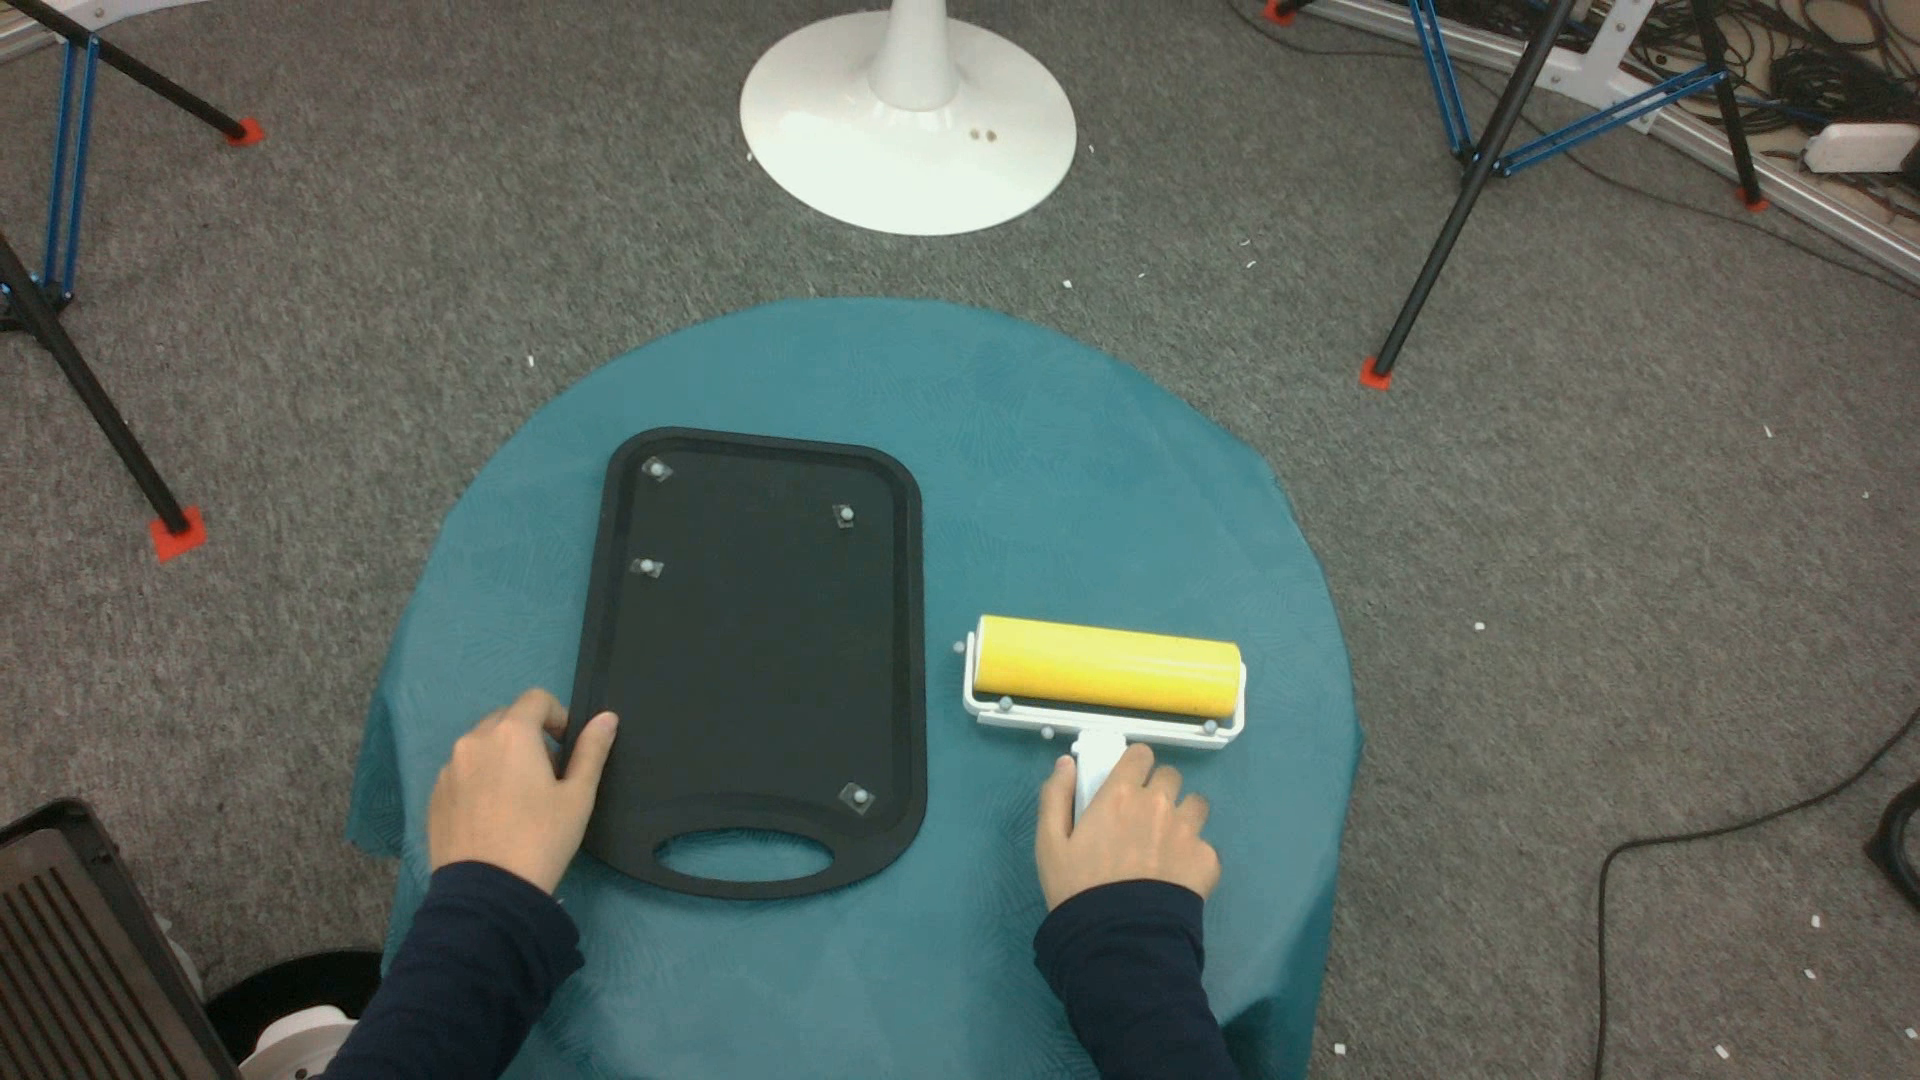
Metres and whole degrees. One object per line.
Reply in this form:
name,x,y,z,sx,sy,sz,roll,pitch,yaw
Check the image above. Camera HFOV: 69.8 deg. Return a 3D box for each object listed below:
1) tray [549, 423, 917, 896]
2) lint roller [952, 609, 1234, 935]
tray,-0.131,0.060,0.846,0.211,0.010,0.327,4,55,-11
lint roller,0.080,0.131,0.810,0.174,0.051,0.193,5,52,-4
